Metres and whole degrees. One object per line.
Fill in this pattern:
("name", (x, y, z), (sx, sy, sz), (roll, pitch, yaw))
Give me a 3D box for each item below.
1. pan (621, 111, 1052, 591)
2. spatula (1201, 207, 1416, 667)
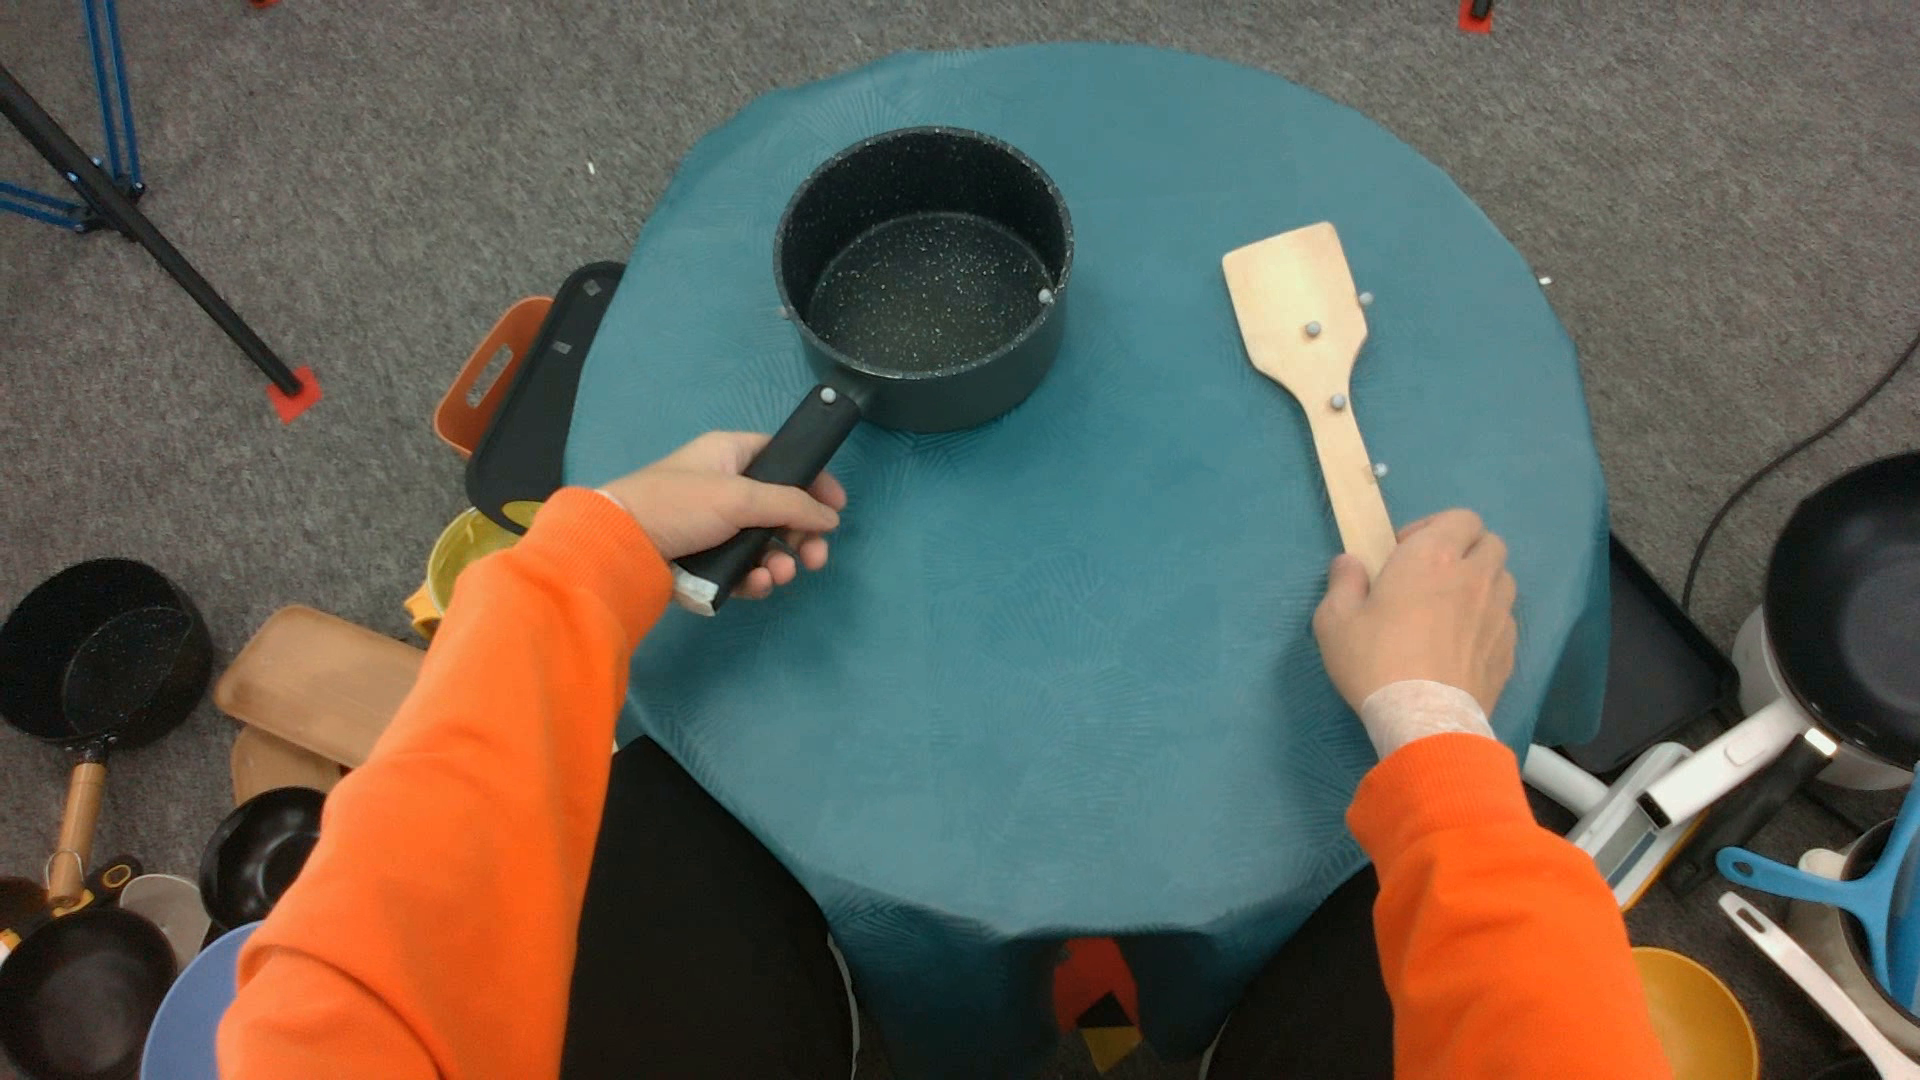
("pan", (-0.072, -0.097, 0.778), (0.172, 0.086, 0.330), (27, 69, 15))
("spatula", (0.203, -0.064, 0.777), (0.072, 0.010, 0.294), (-18, 62, 15))
